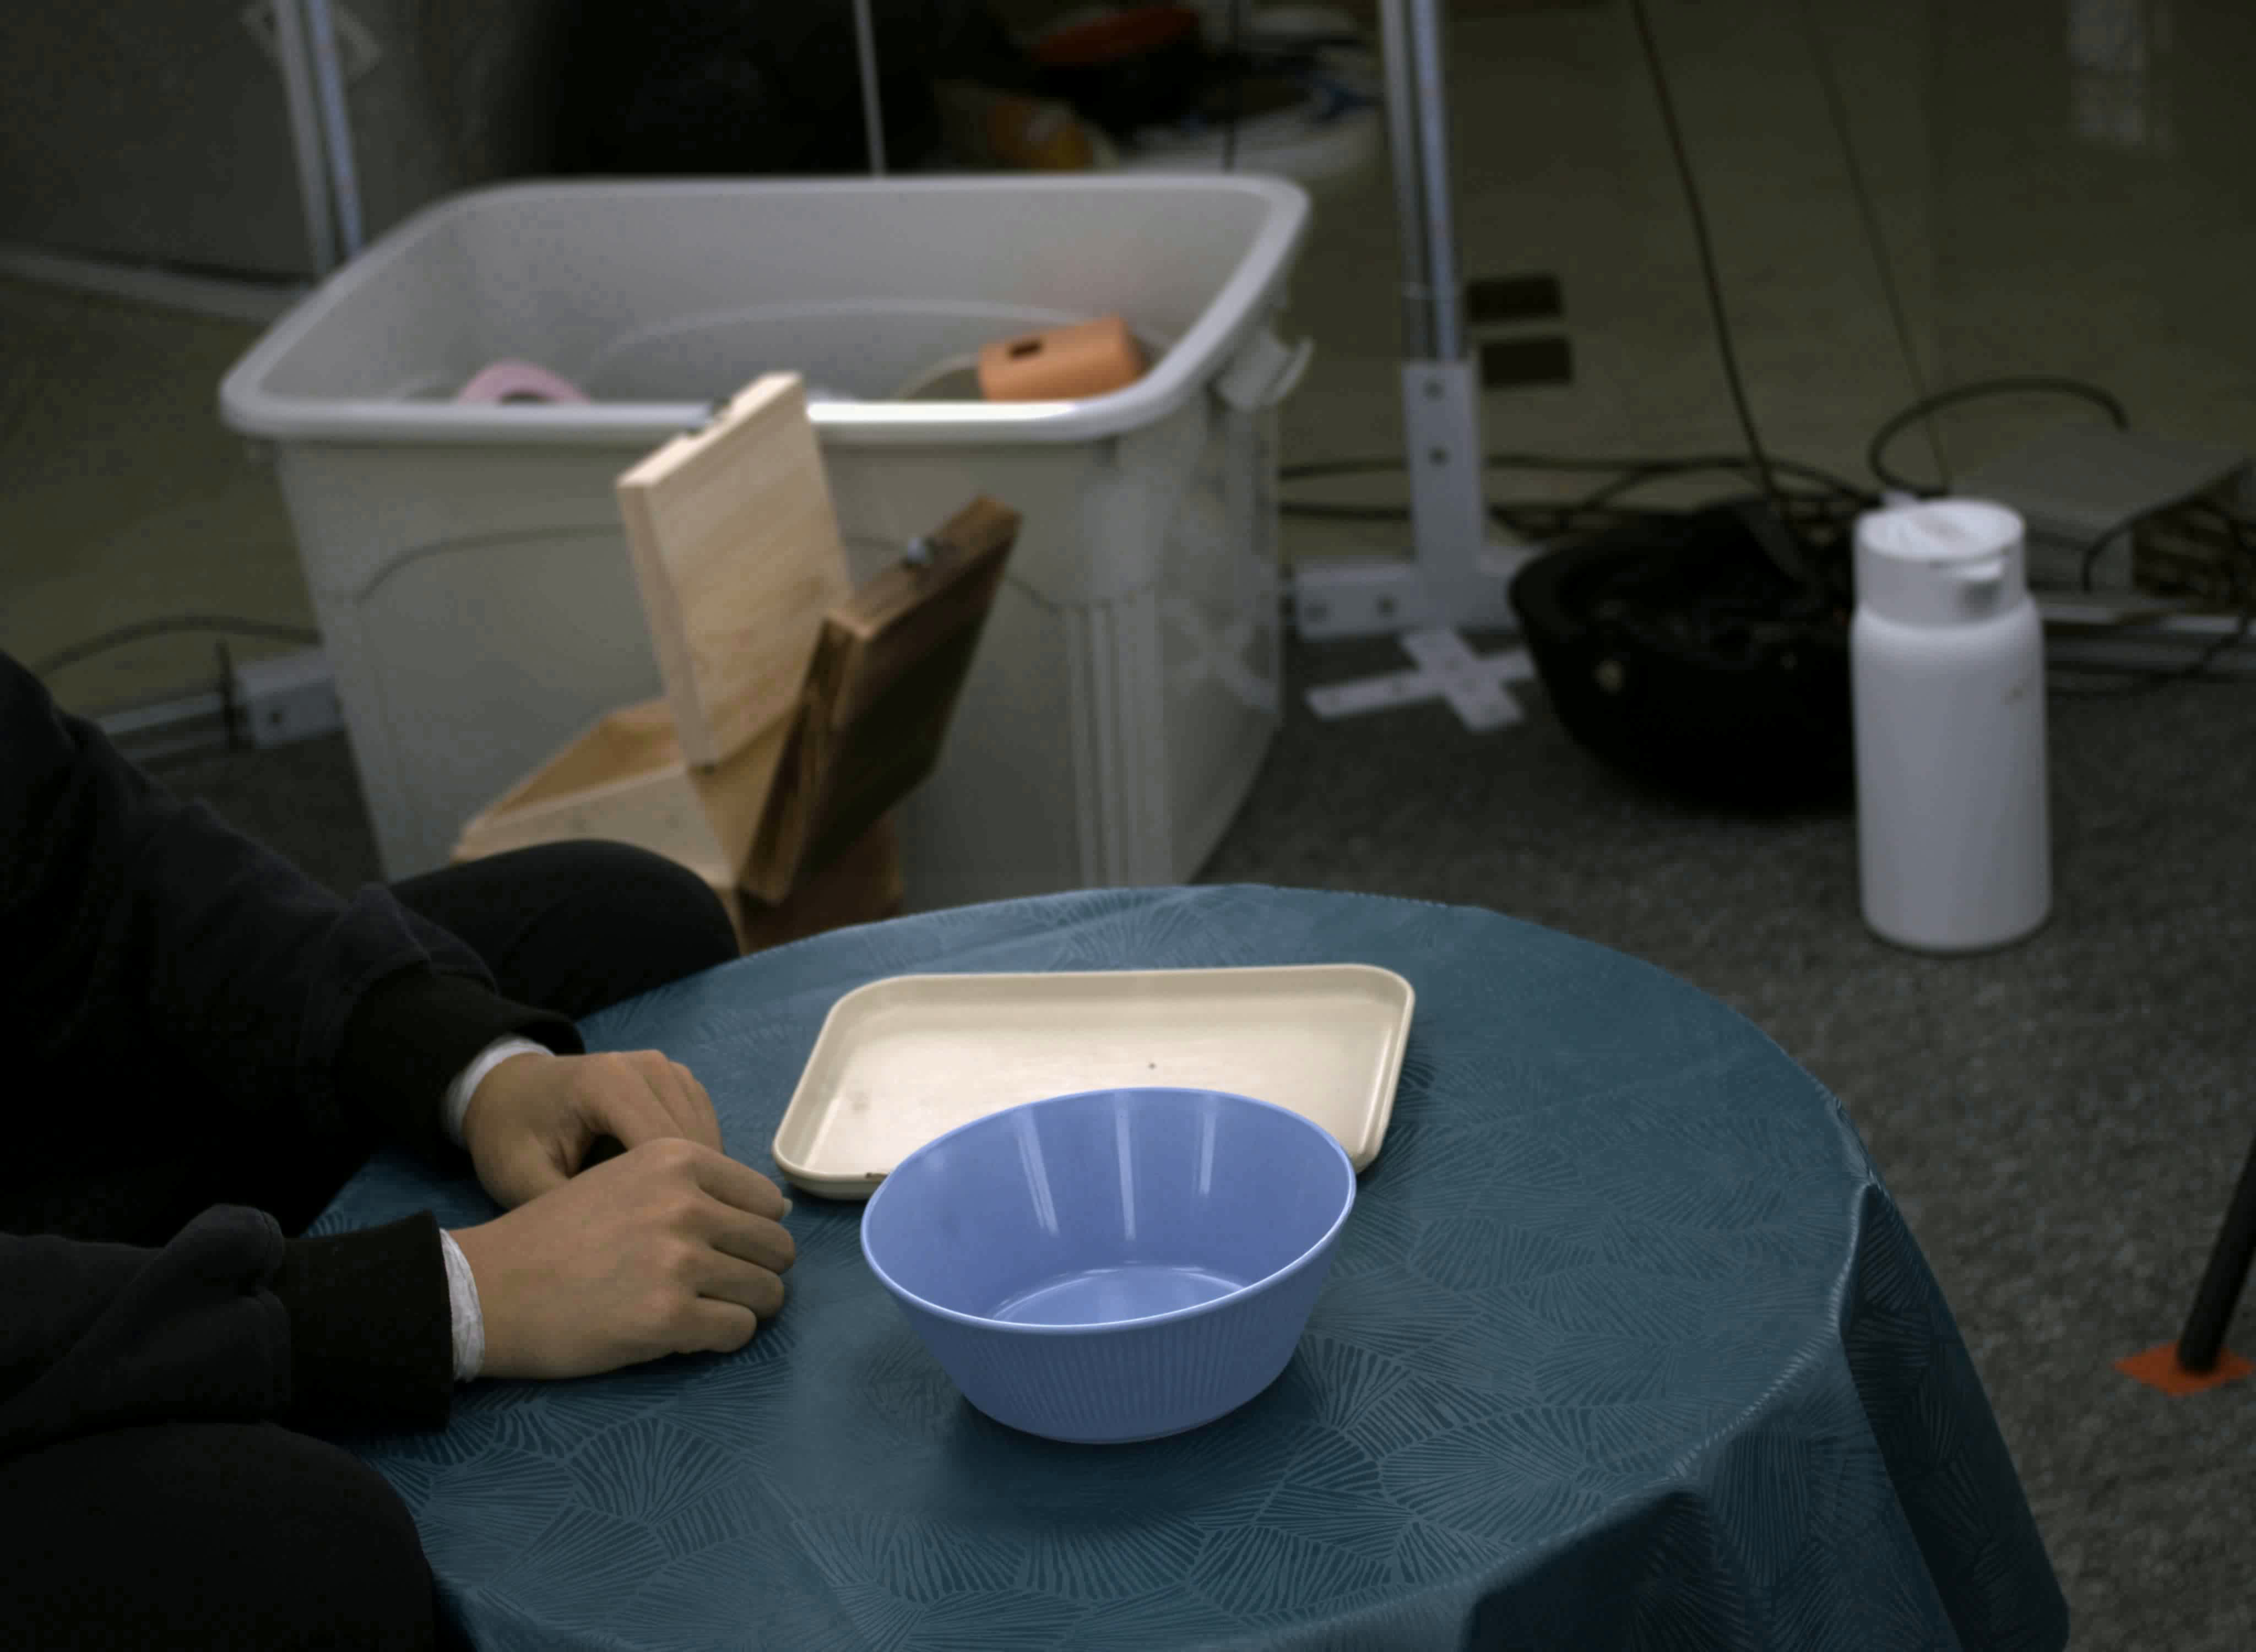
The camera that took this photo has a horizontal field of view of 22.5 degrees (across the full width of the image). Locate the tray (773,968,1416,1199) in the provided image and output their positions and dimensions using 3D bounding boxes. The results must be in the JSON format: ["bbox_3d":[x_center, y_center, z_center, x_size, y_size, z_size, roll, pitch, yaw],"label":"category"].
[{"bbox_3d":[-0.011,0.102,2.215,0.239,0.018,0.169,-2,25,11],"label":"tray"}]

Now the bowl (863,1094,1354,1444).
[{"bbox_3d":[-0.004,0.163,2.017,0.176,0.071,0.173,-5,24,3],"label":"bowl"}]
